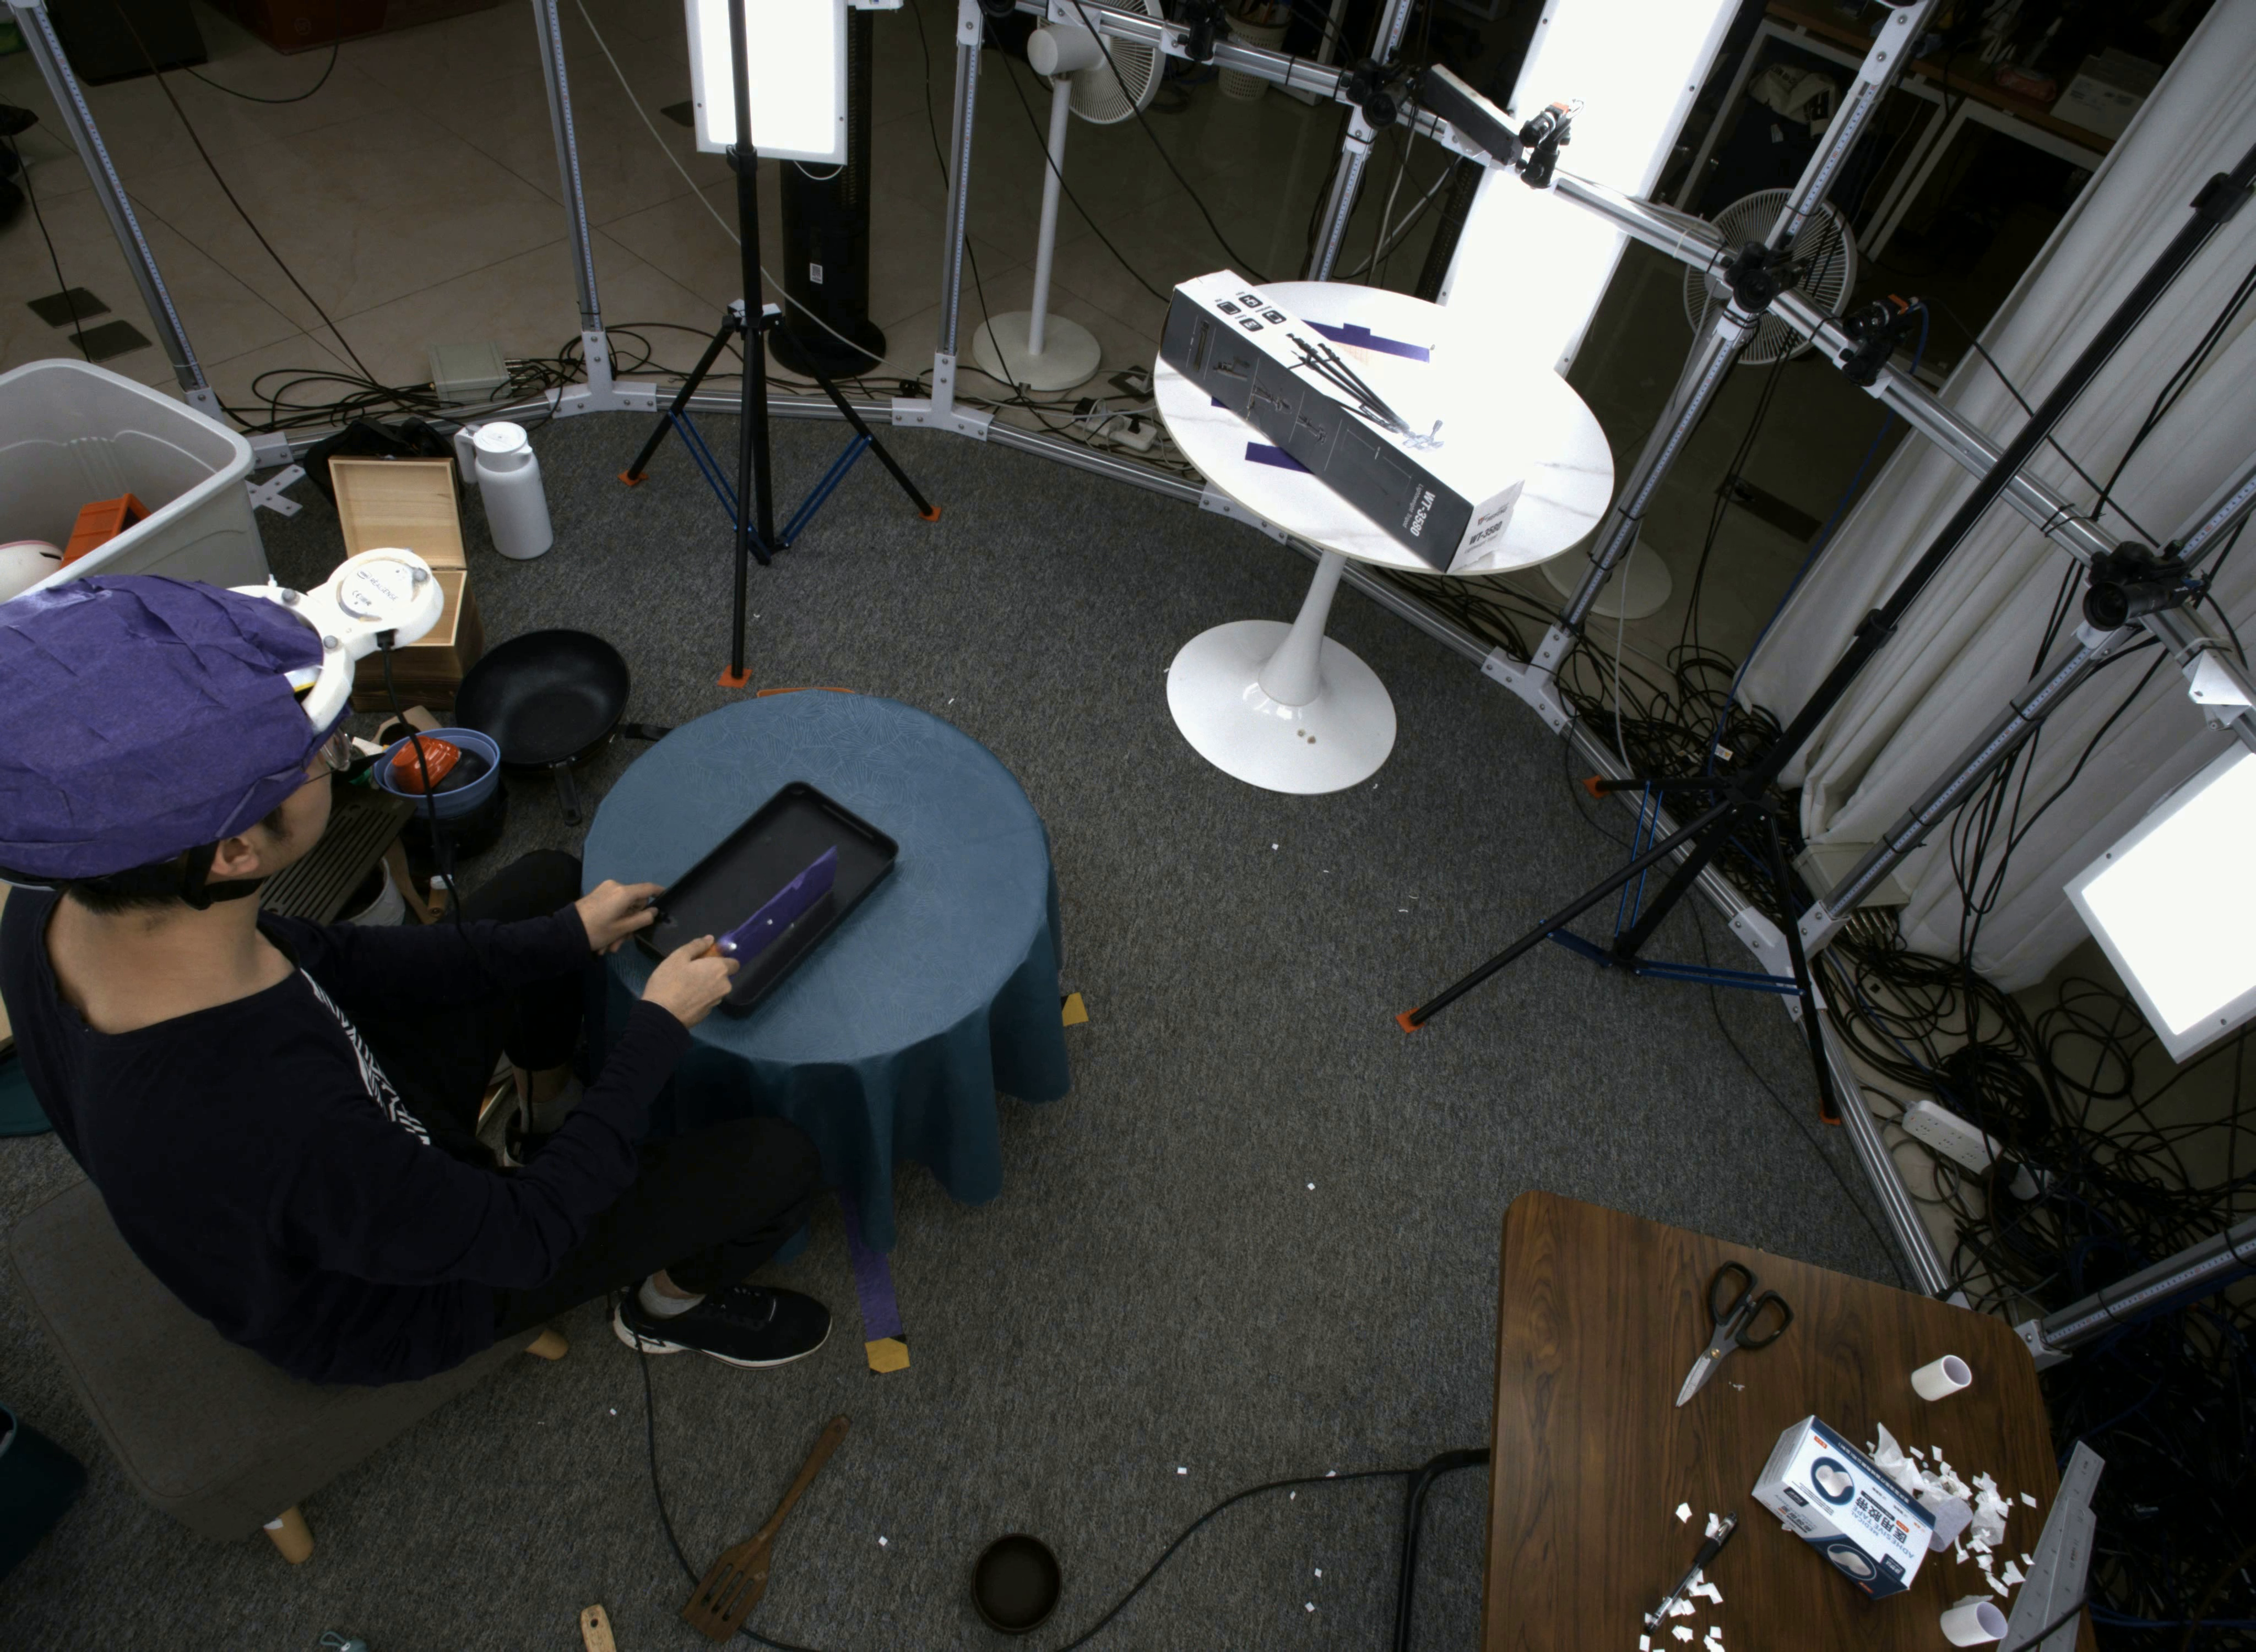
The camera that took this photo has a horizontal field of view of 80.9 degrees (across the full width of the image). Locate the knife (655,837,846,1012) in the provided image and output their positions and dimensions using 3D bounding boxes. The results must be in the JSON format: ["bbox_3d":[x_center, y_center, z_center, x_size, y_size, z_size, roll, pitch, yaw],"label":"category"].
[{"bbox_3d":[-0.437,0.128,1.531,0.031,0.106,0.315,32,45,12],"label":"knife"}]

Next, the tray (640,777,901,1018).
[{"bbox_3d":[-0.446,0.081,1.637,0.182,0.037,0.317,32,52,6],"label":"tray"}]
